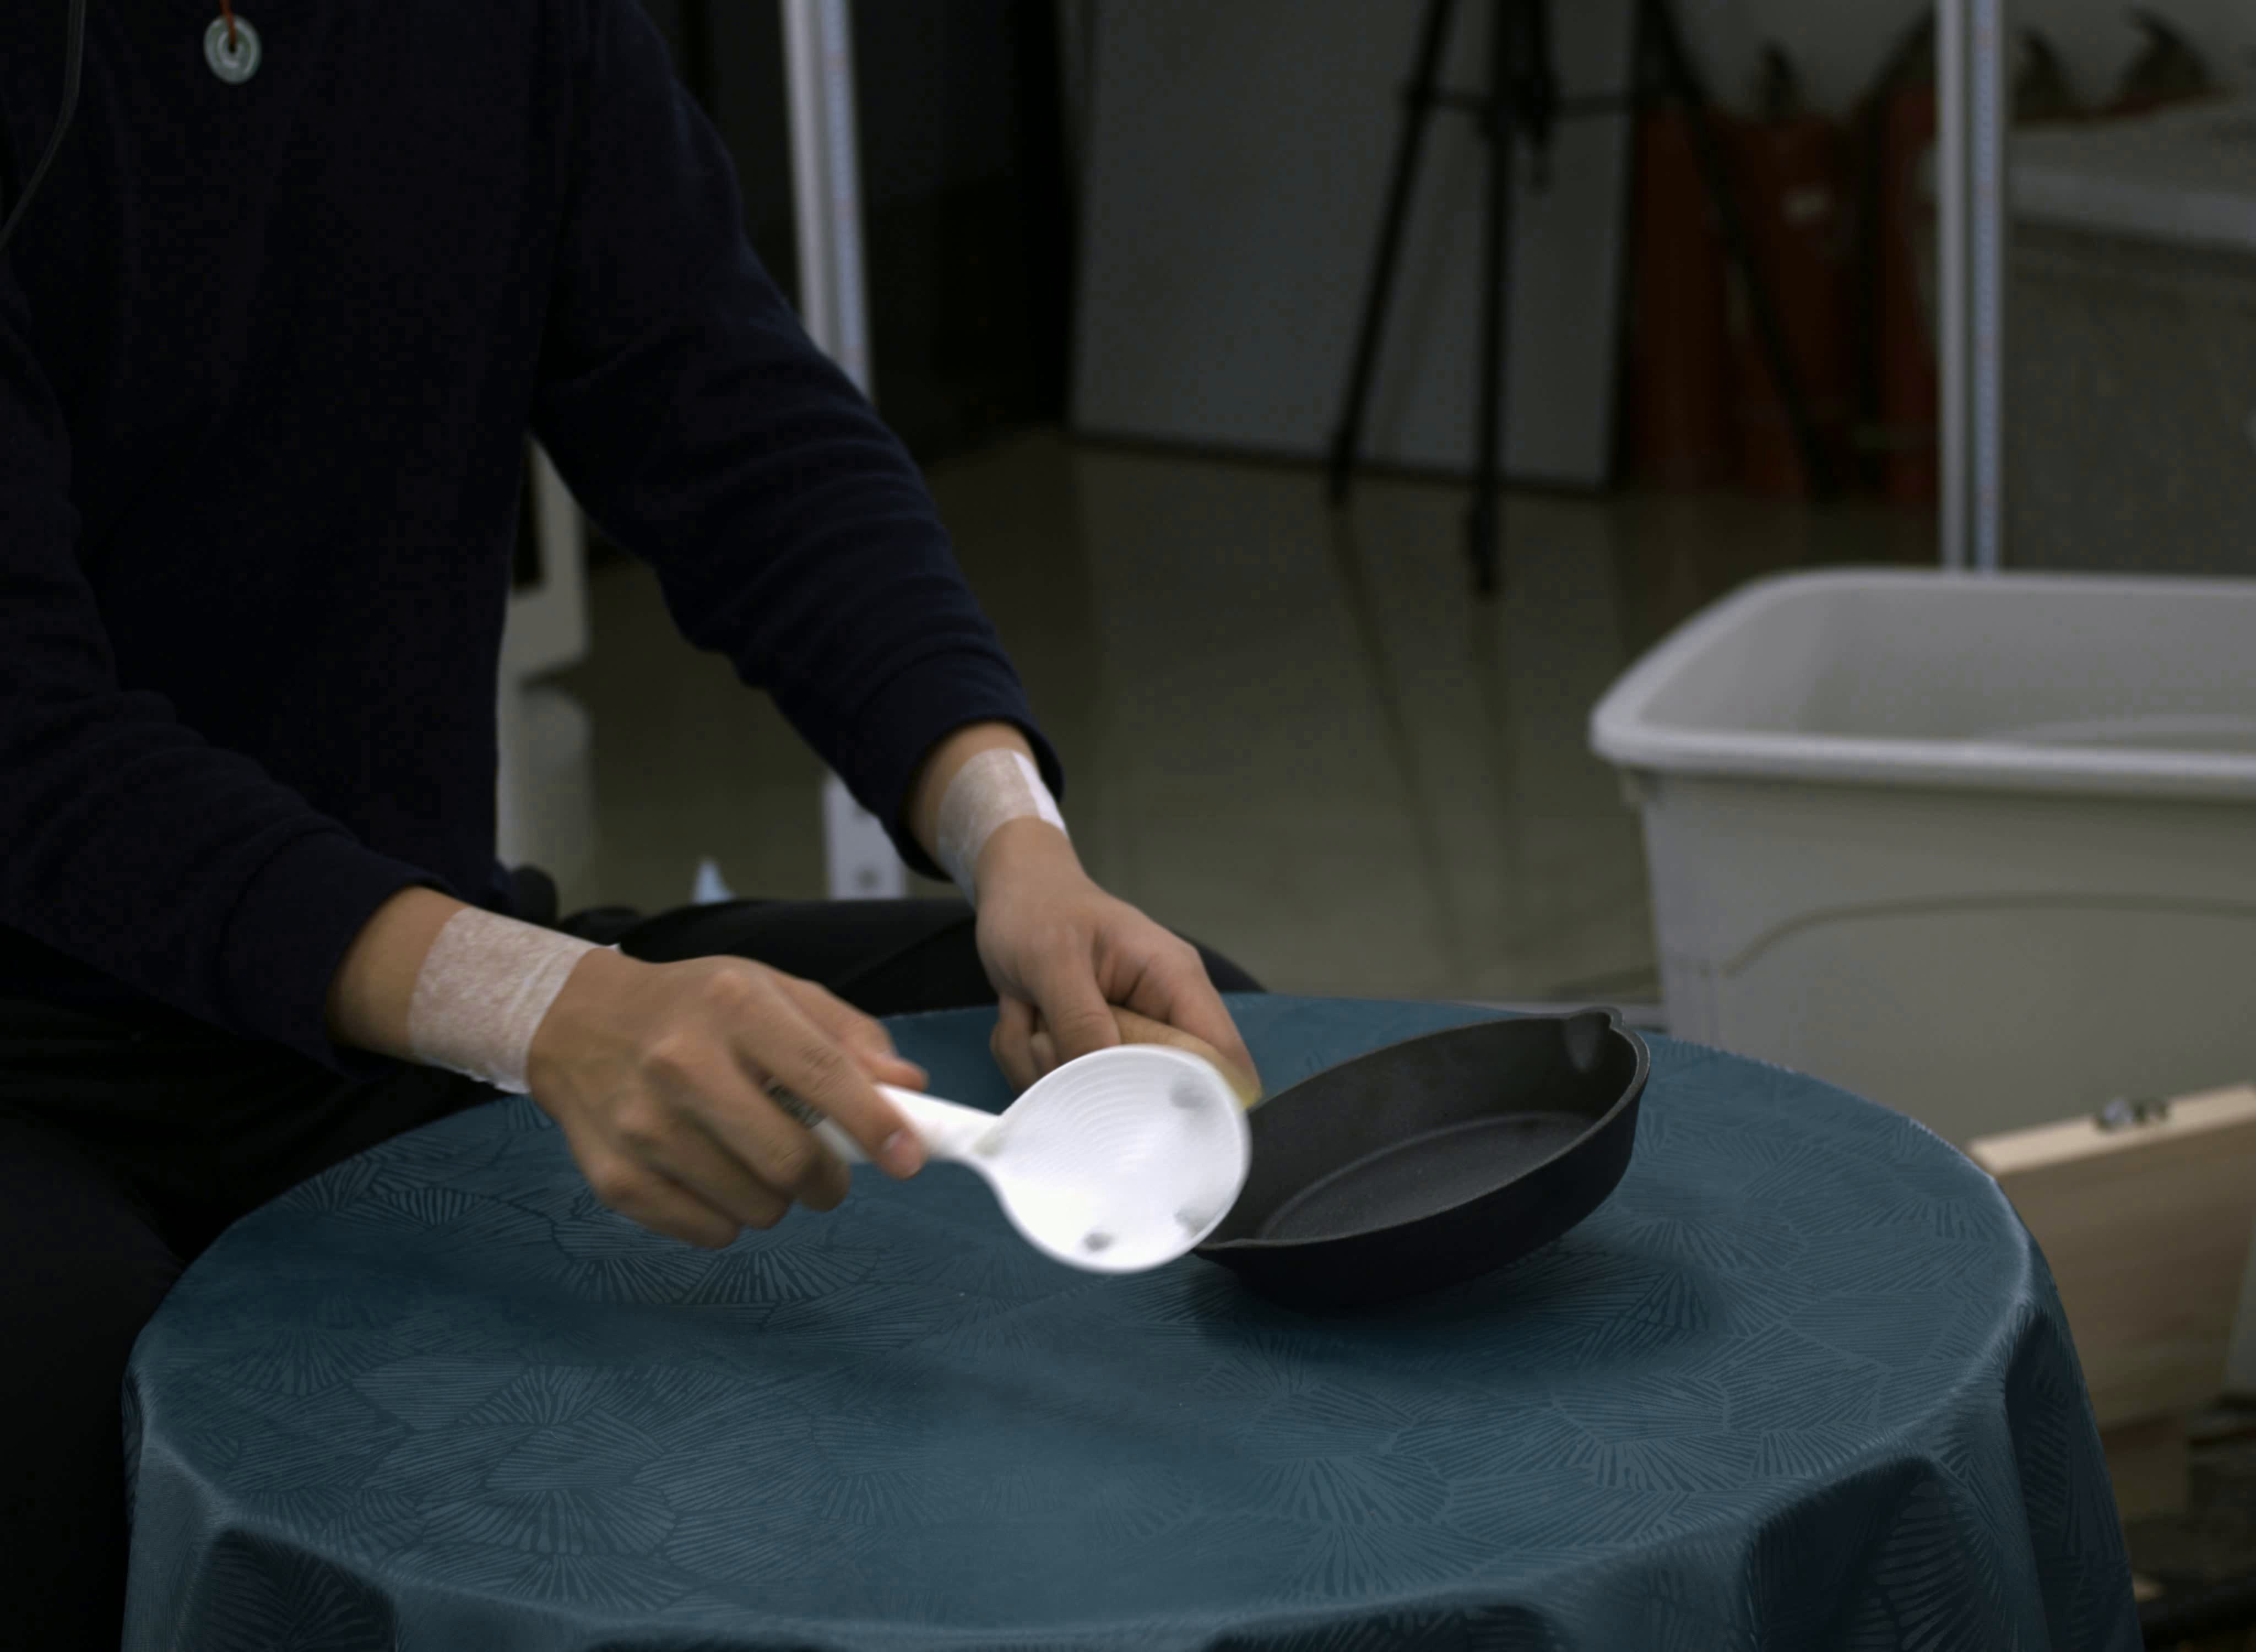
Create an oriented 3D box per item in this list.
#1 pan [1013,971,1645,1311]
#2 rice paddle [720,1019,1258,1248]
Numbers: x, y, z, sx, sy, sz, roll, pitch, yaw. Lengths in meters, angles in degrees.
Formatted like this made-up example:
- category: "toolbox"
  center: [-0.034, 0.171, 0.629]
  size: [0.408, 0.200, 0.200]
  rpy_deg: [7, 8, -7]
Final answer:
- category: "pan"
  center: [0.048, 0.091, 1.744]
  size: [0.166, 0.050, 0.327]
  rpy_deg: [-28, 18, -23]
- category: "rice paddle"
  center: [-0.041, 0.088, 1.615]
  size: [0.207, 0.069, 0.029]
  rpy_deg: [2, -17, 42]
